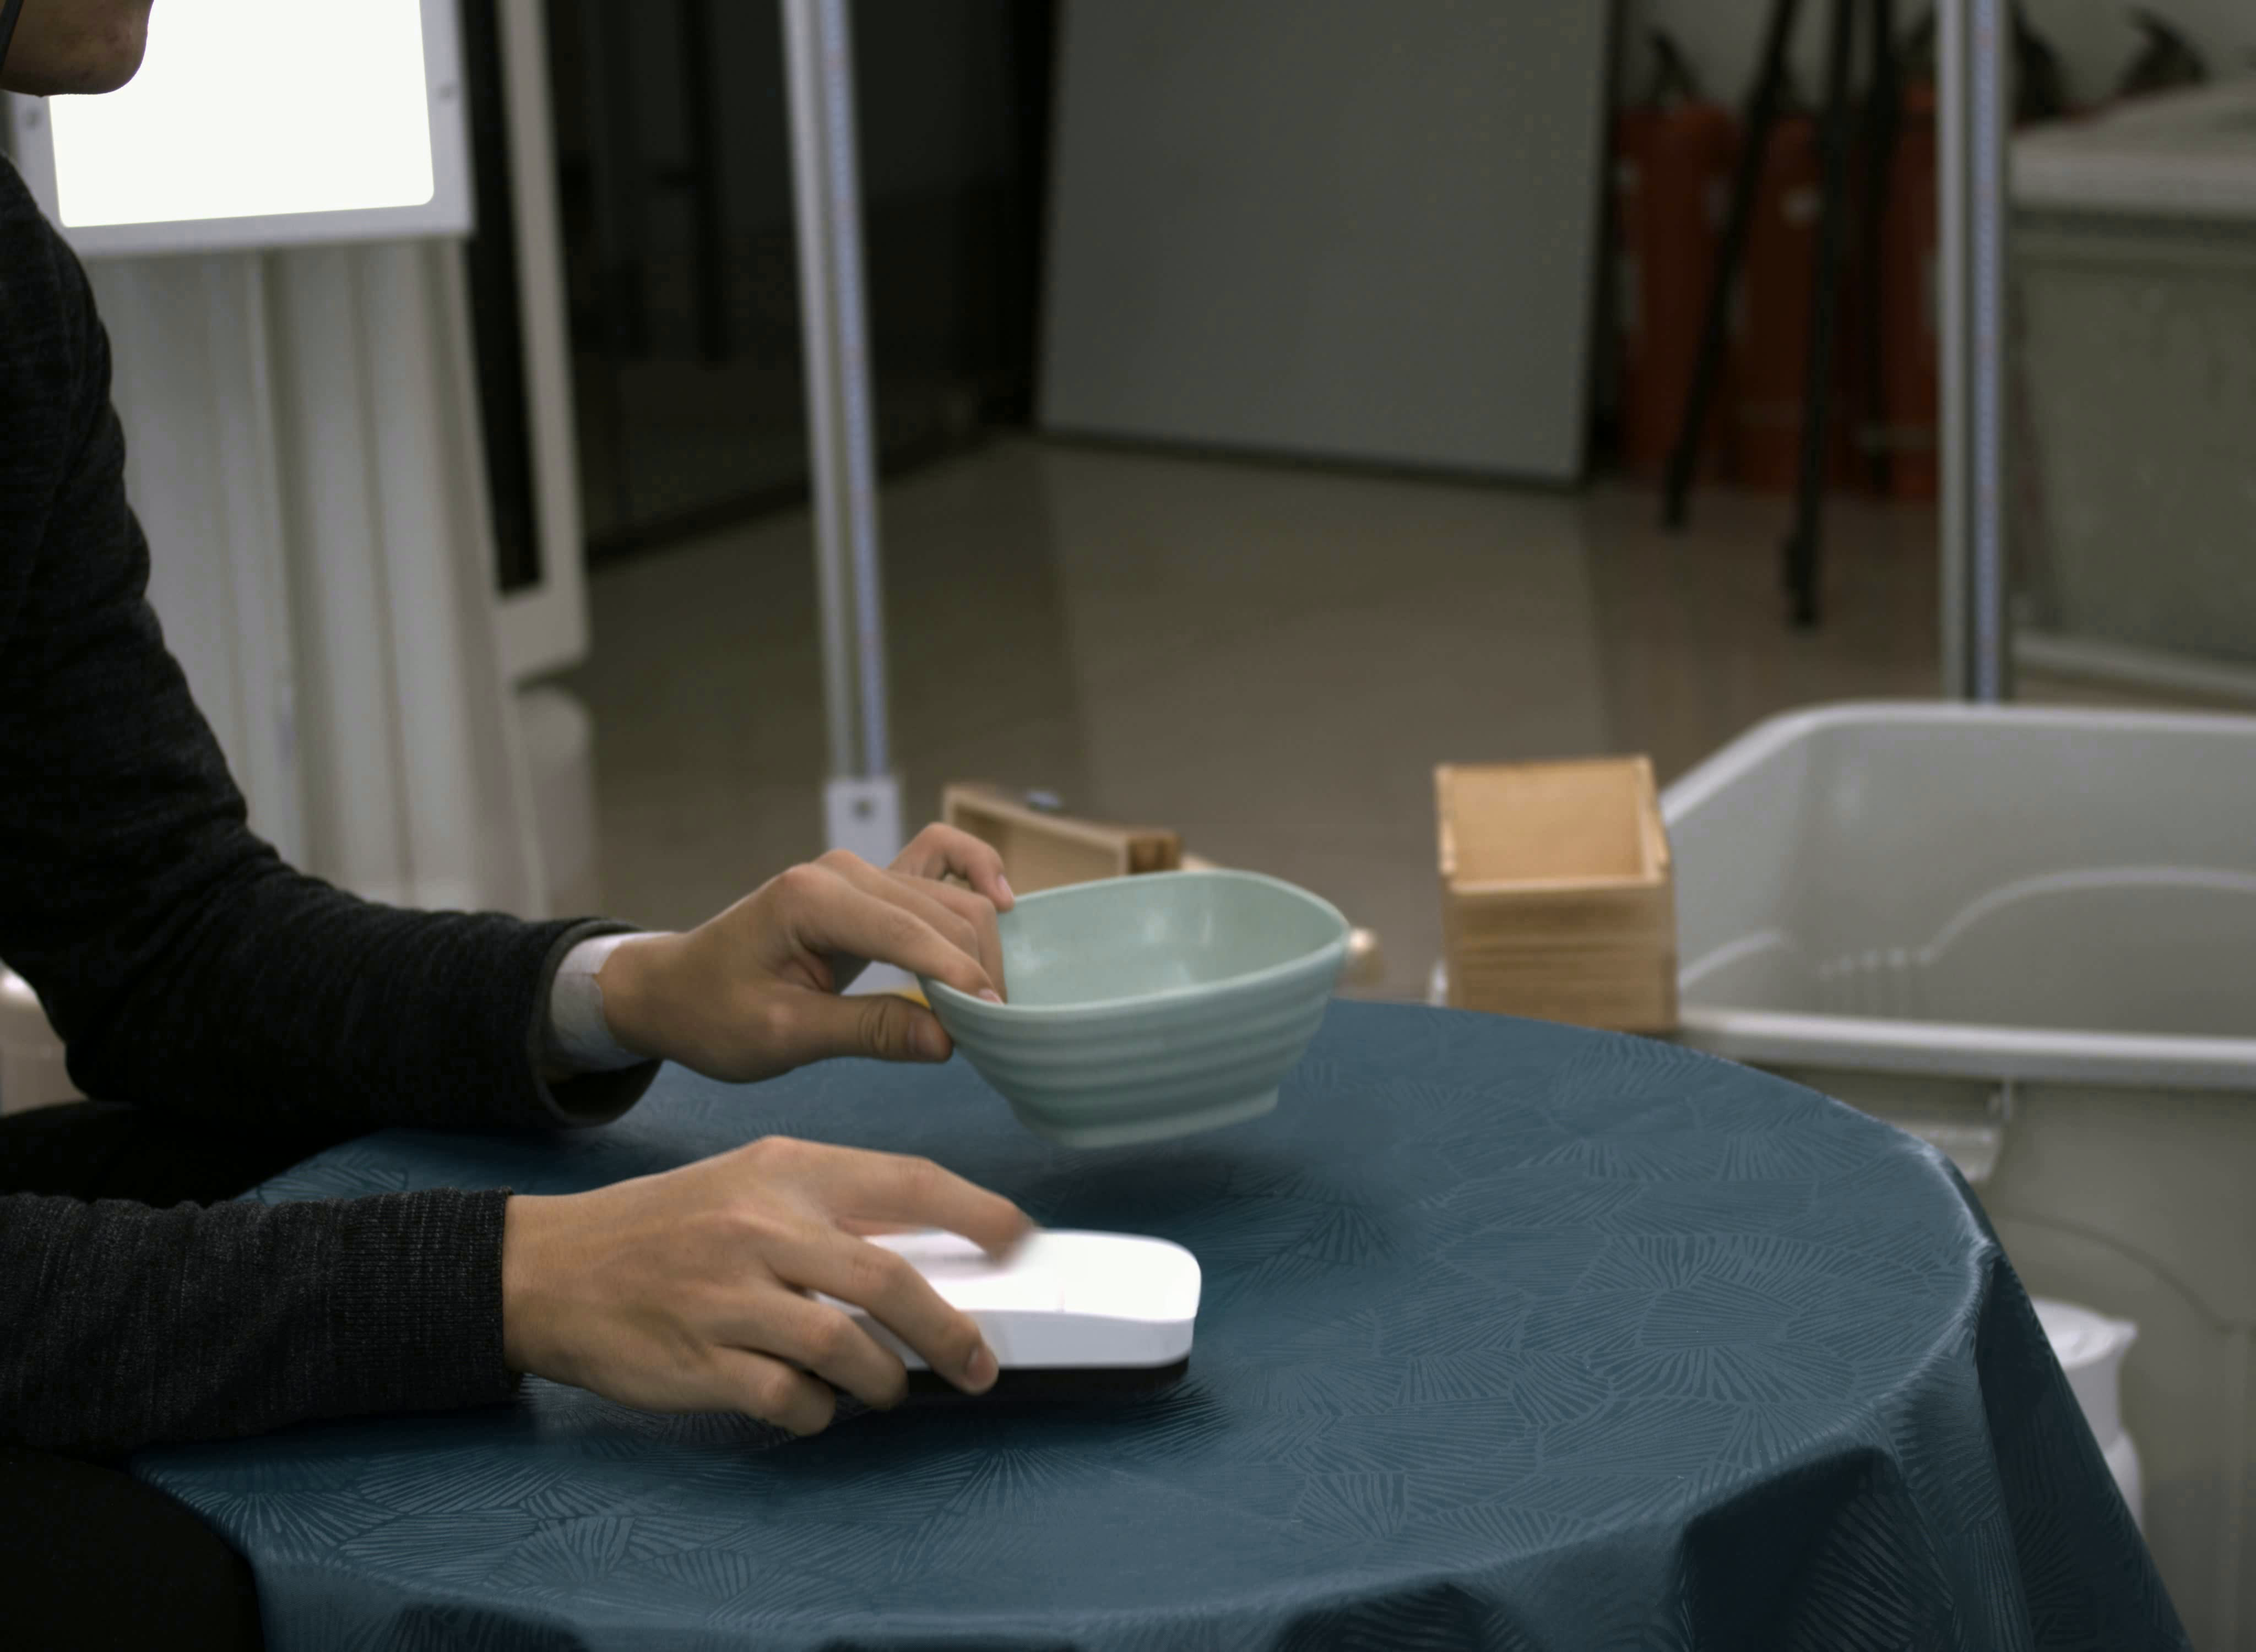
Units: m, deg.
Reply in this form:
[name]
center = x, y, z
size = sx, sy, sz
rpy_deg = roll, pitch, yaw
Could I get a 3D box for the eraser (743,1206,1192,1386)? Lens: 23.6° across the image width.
[eraser]
center = -0.046, 0.138, 1.578
size = 0.130, 0.035, 0.063
rpy_deg = 0, 17, 5

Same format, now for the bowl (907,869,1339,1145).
[bowl]
center = 0.000, 0.062, 1.768
size = 0.149, 0.059, 0.152
rpy_deg = -6, 14, 0
